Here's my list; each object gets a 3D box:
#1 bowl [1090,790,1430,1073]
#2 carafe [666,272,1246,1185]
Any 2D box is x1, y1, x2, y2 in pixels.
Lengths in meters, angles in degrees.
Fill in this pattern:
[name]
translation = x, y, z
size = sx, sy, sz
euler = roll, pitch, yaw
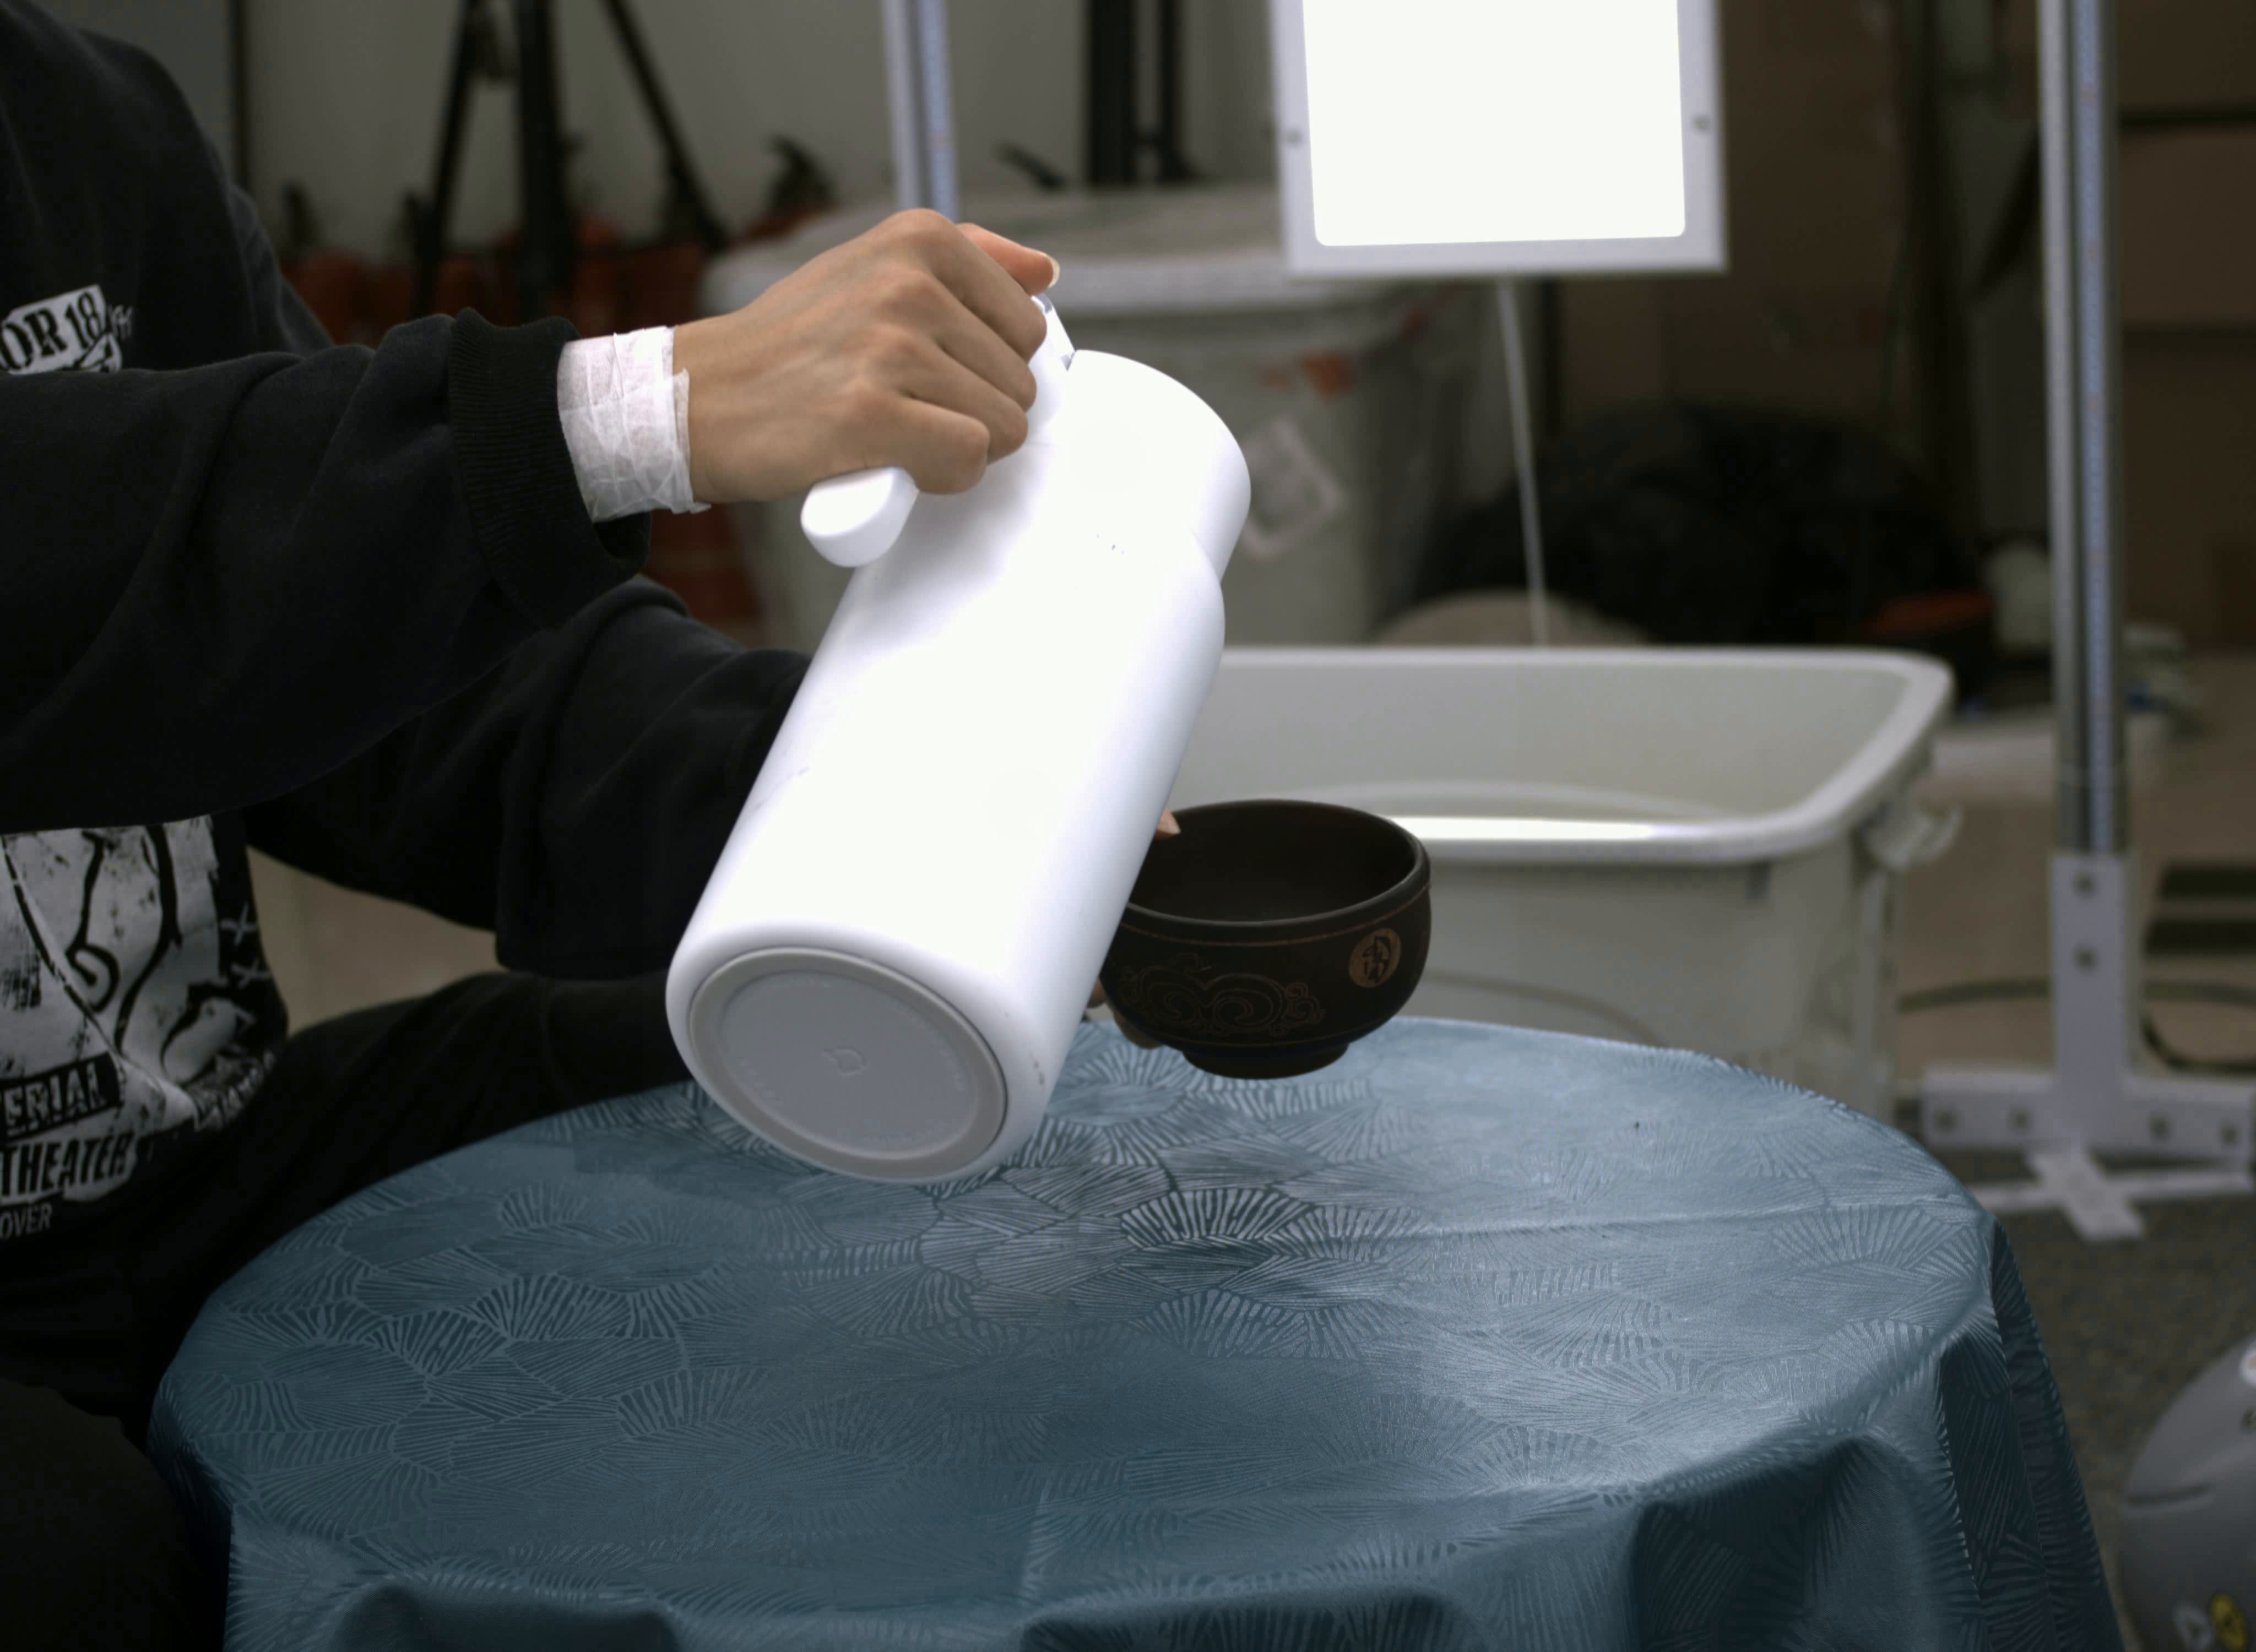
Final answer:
[bowl]
translation = 0.044, 0.040, 1.848
size = 0.118, 0.070, 0.118
euler = -5, 21, 0
[carafe]
translation = -0.050, -0.036, 1.663
size = 0.126, 0.172, 0.265
euler = -3, 44, 29
